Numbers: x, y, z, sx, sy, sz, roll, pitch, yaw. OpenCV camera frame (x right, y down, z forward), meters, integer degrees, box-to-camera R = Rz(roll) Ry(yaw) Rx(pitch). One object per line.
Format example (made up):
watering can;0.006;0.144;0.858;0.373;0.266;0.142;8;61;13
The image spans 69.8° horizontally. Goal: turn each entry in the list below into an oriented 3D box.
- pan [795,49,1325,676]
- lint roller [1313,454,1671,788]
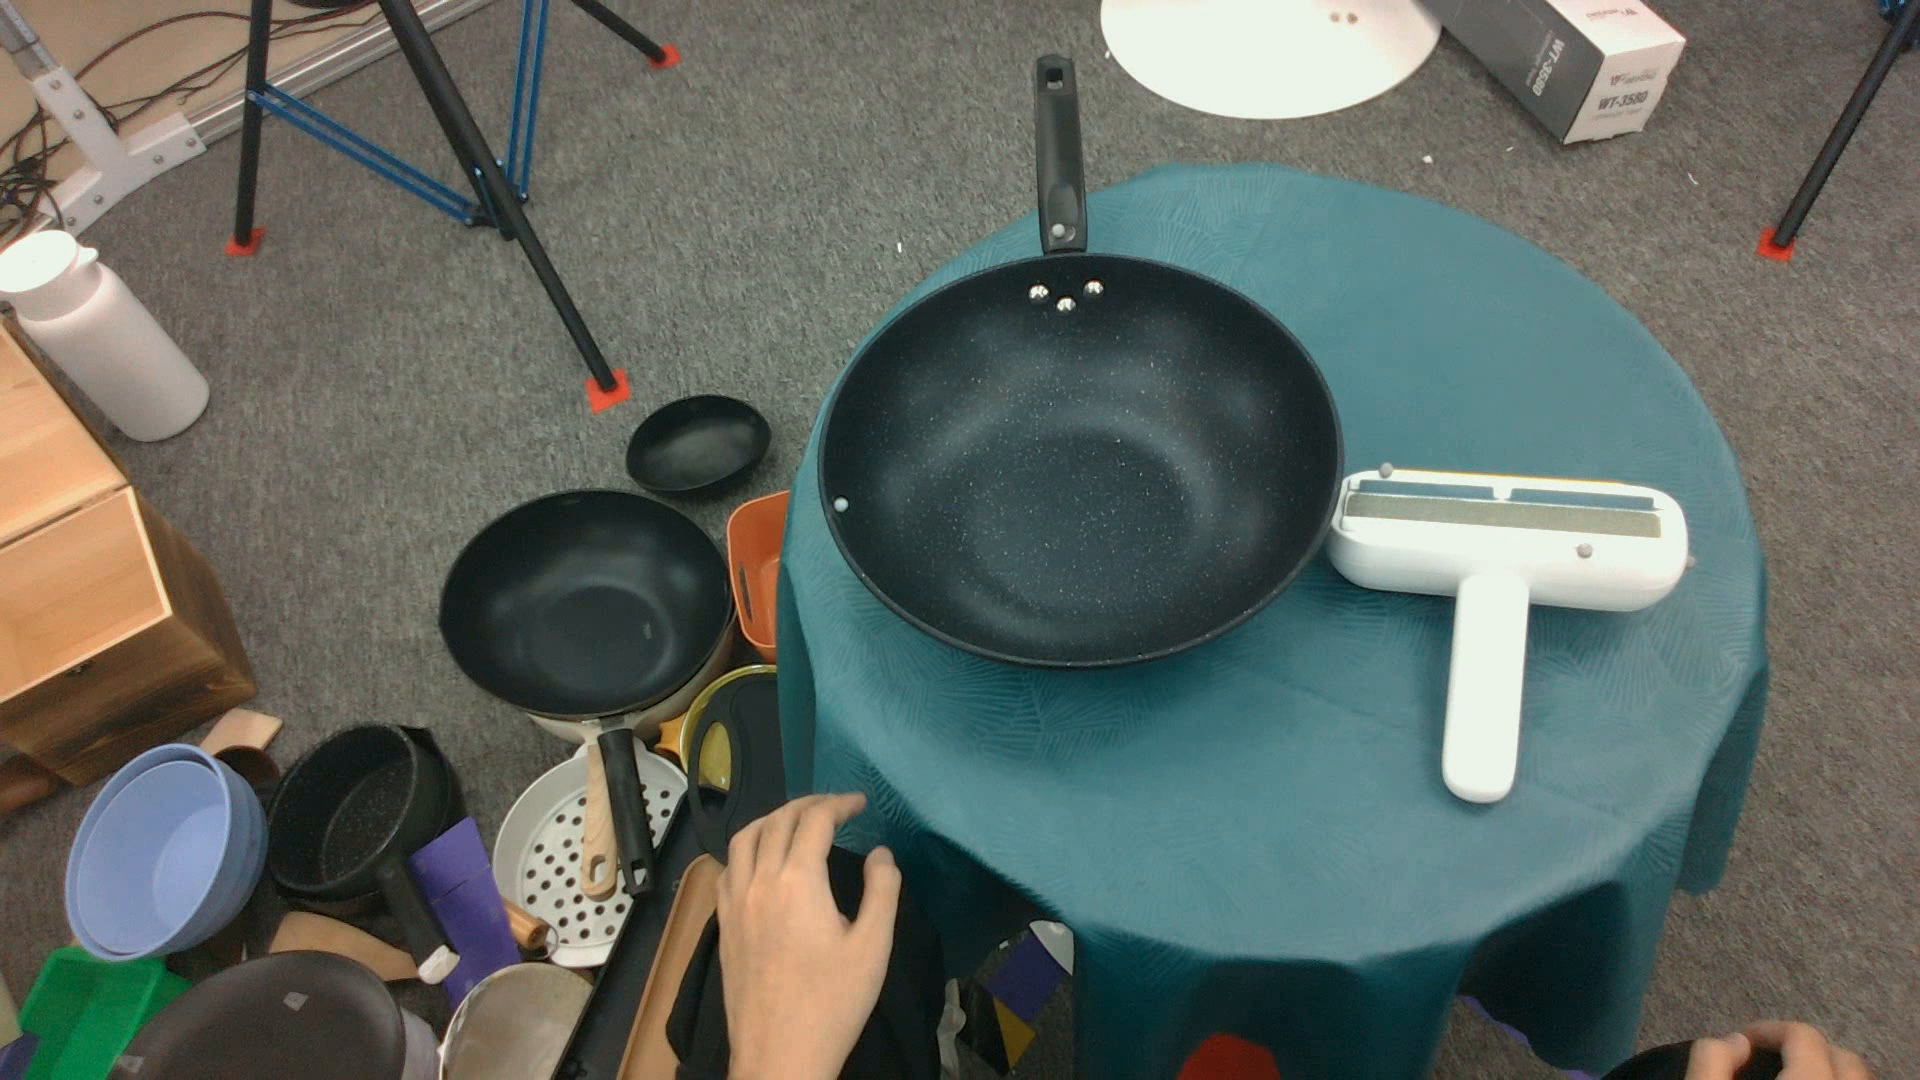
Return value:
pan;0.057;-0.116;0.877;0.310;0.111;0.479;-2;57;1
lint roller;0.286;0.044;0.775;0.192;0.074;0.193;11;60;18
